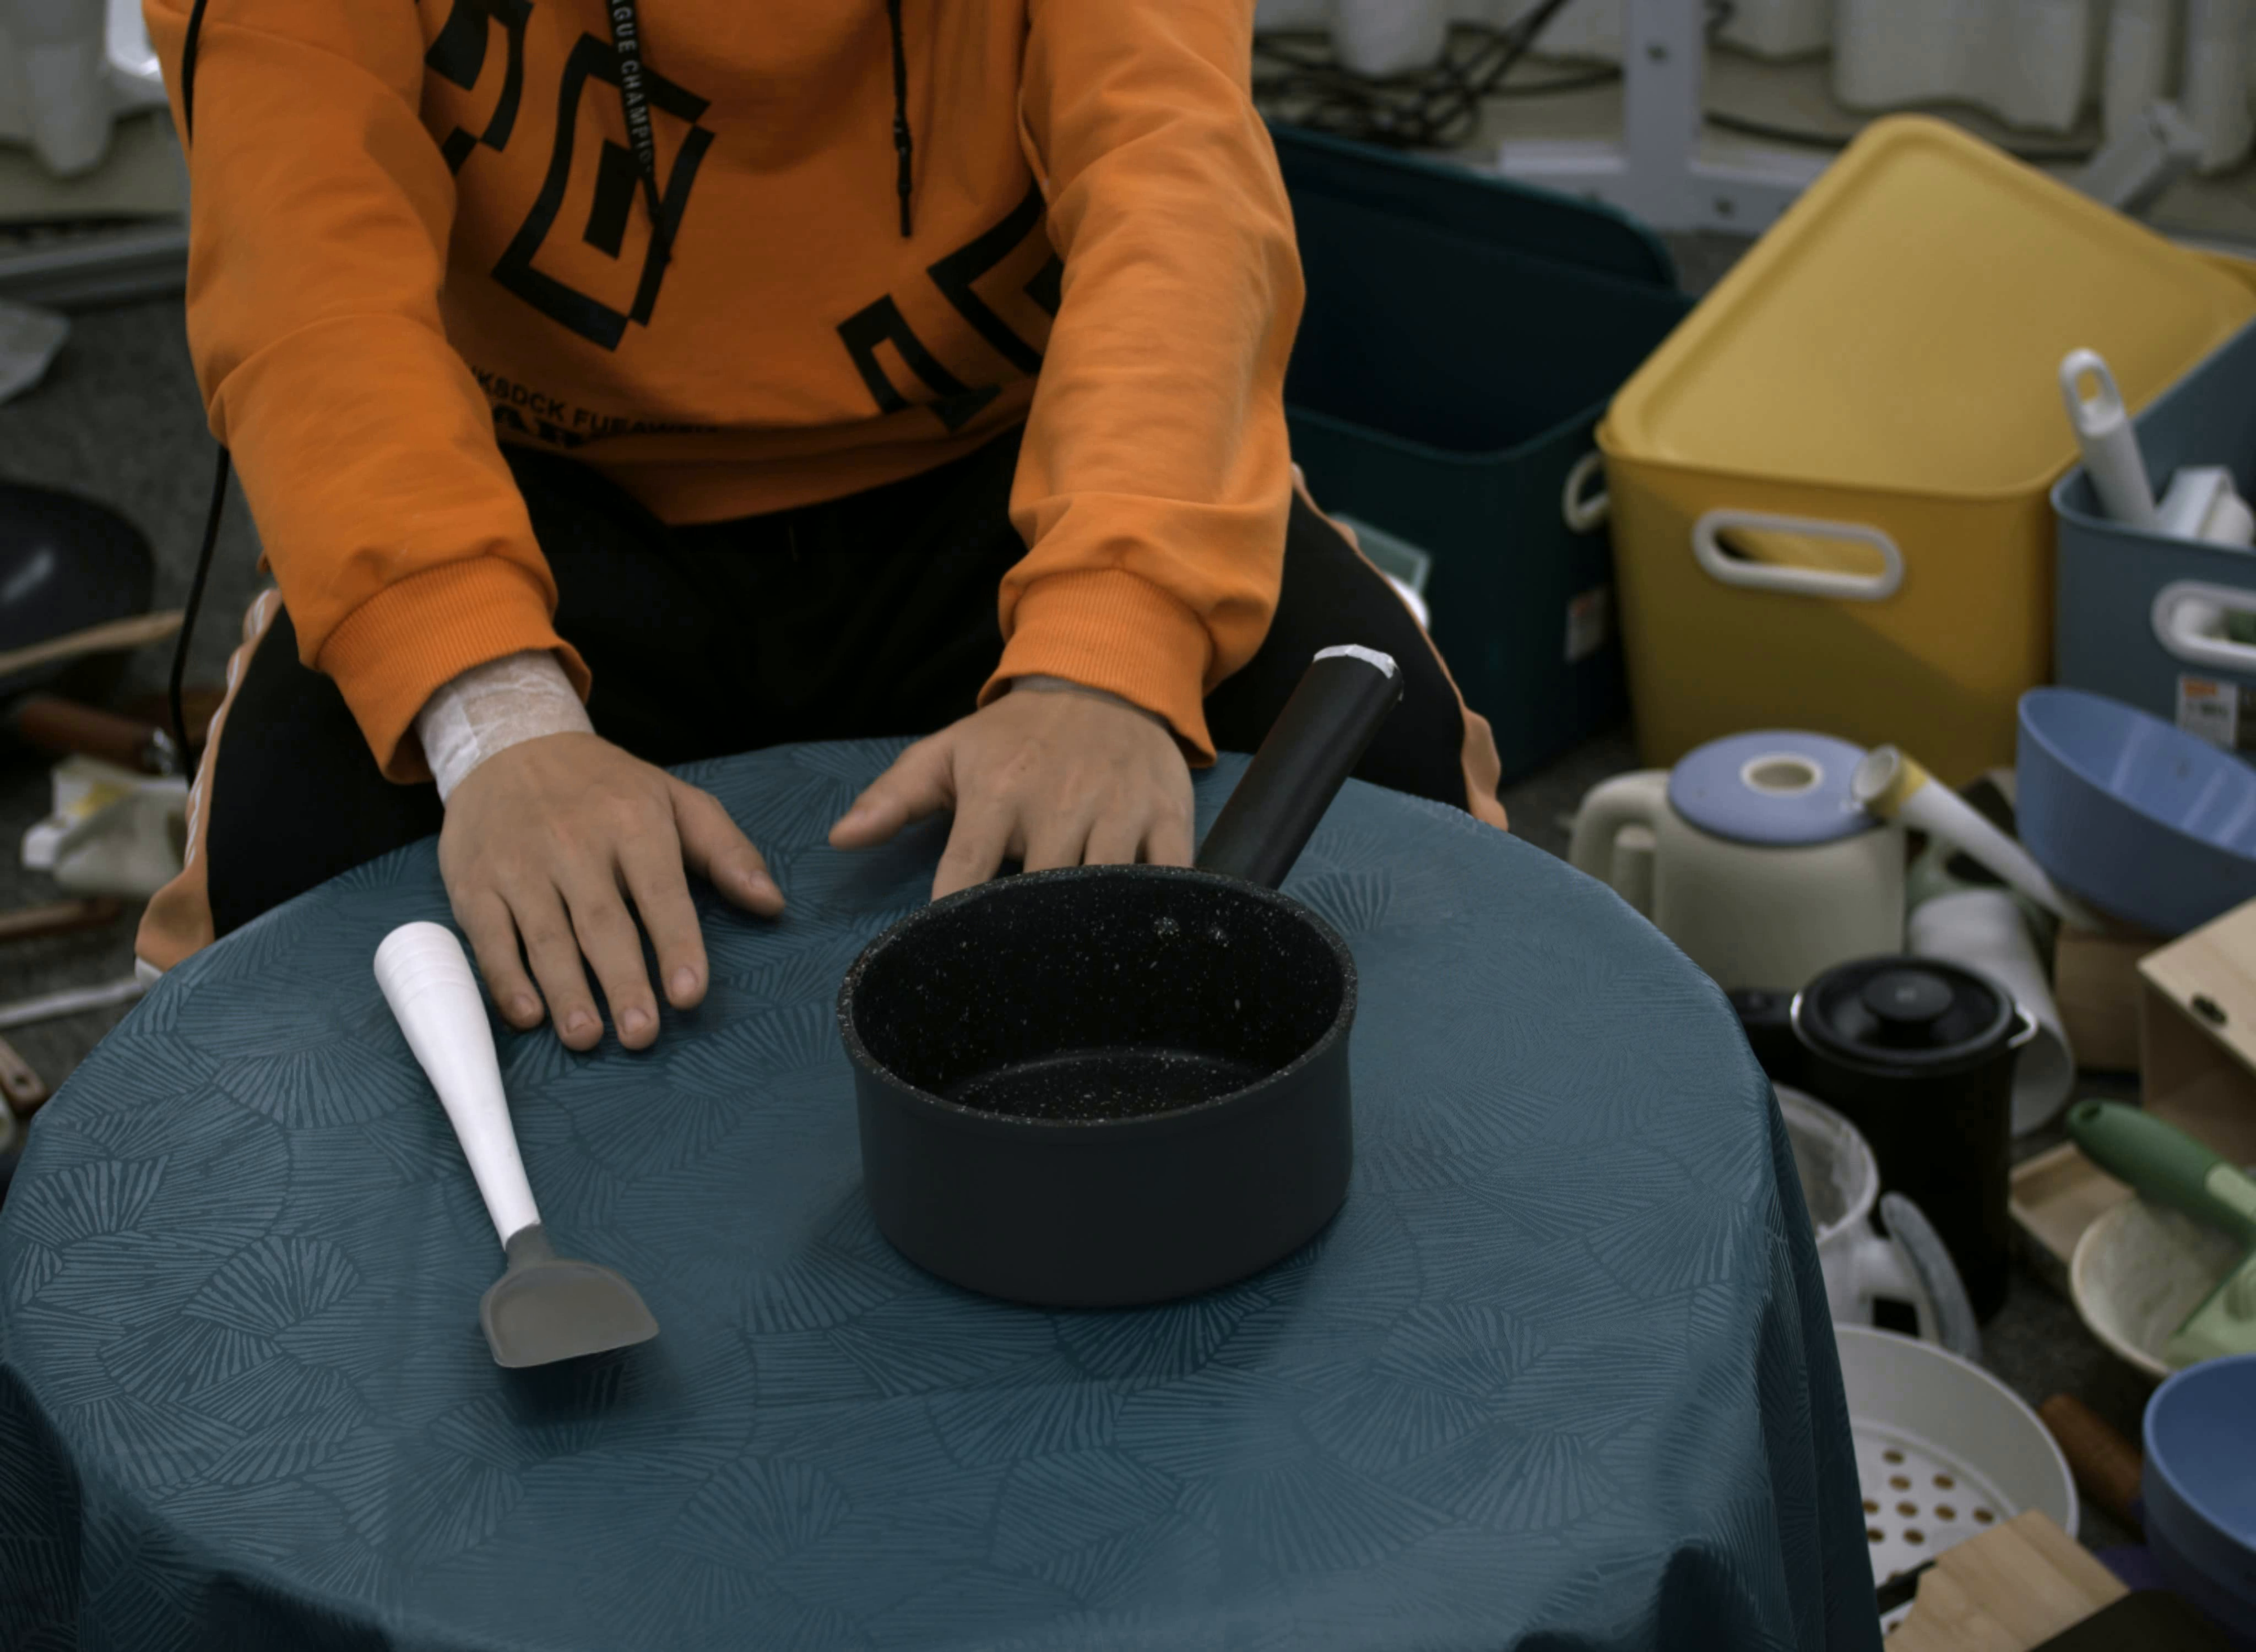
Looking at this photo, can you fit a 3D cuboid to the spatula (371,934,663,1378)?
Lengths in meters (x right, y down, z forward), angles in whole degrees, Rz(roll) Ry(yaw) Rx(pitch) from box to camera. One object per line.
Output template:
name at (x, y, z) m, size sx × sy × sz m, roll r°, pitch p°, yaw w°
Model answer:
spatula at (-0.210, 0.113, 1.866) m, size 0.059 × 0.032 × 0.290 m, roll -8°, pitch 27°, yaw -15°

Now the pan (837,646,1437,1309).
pan at (0.026, 0.047, 1.912) m, size 0.171 × 0.085 × 0.334 m, roll 11°, pitch 32°, yaw 23°
